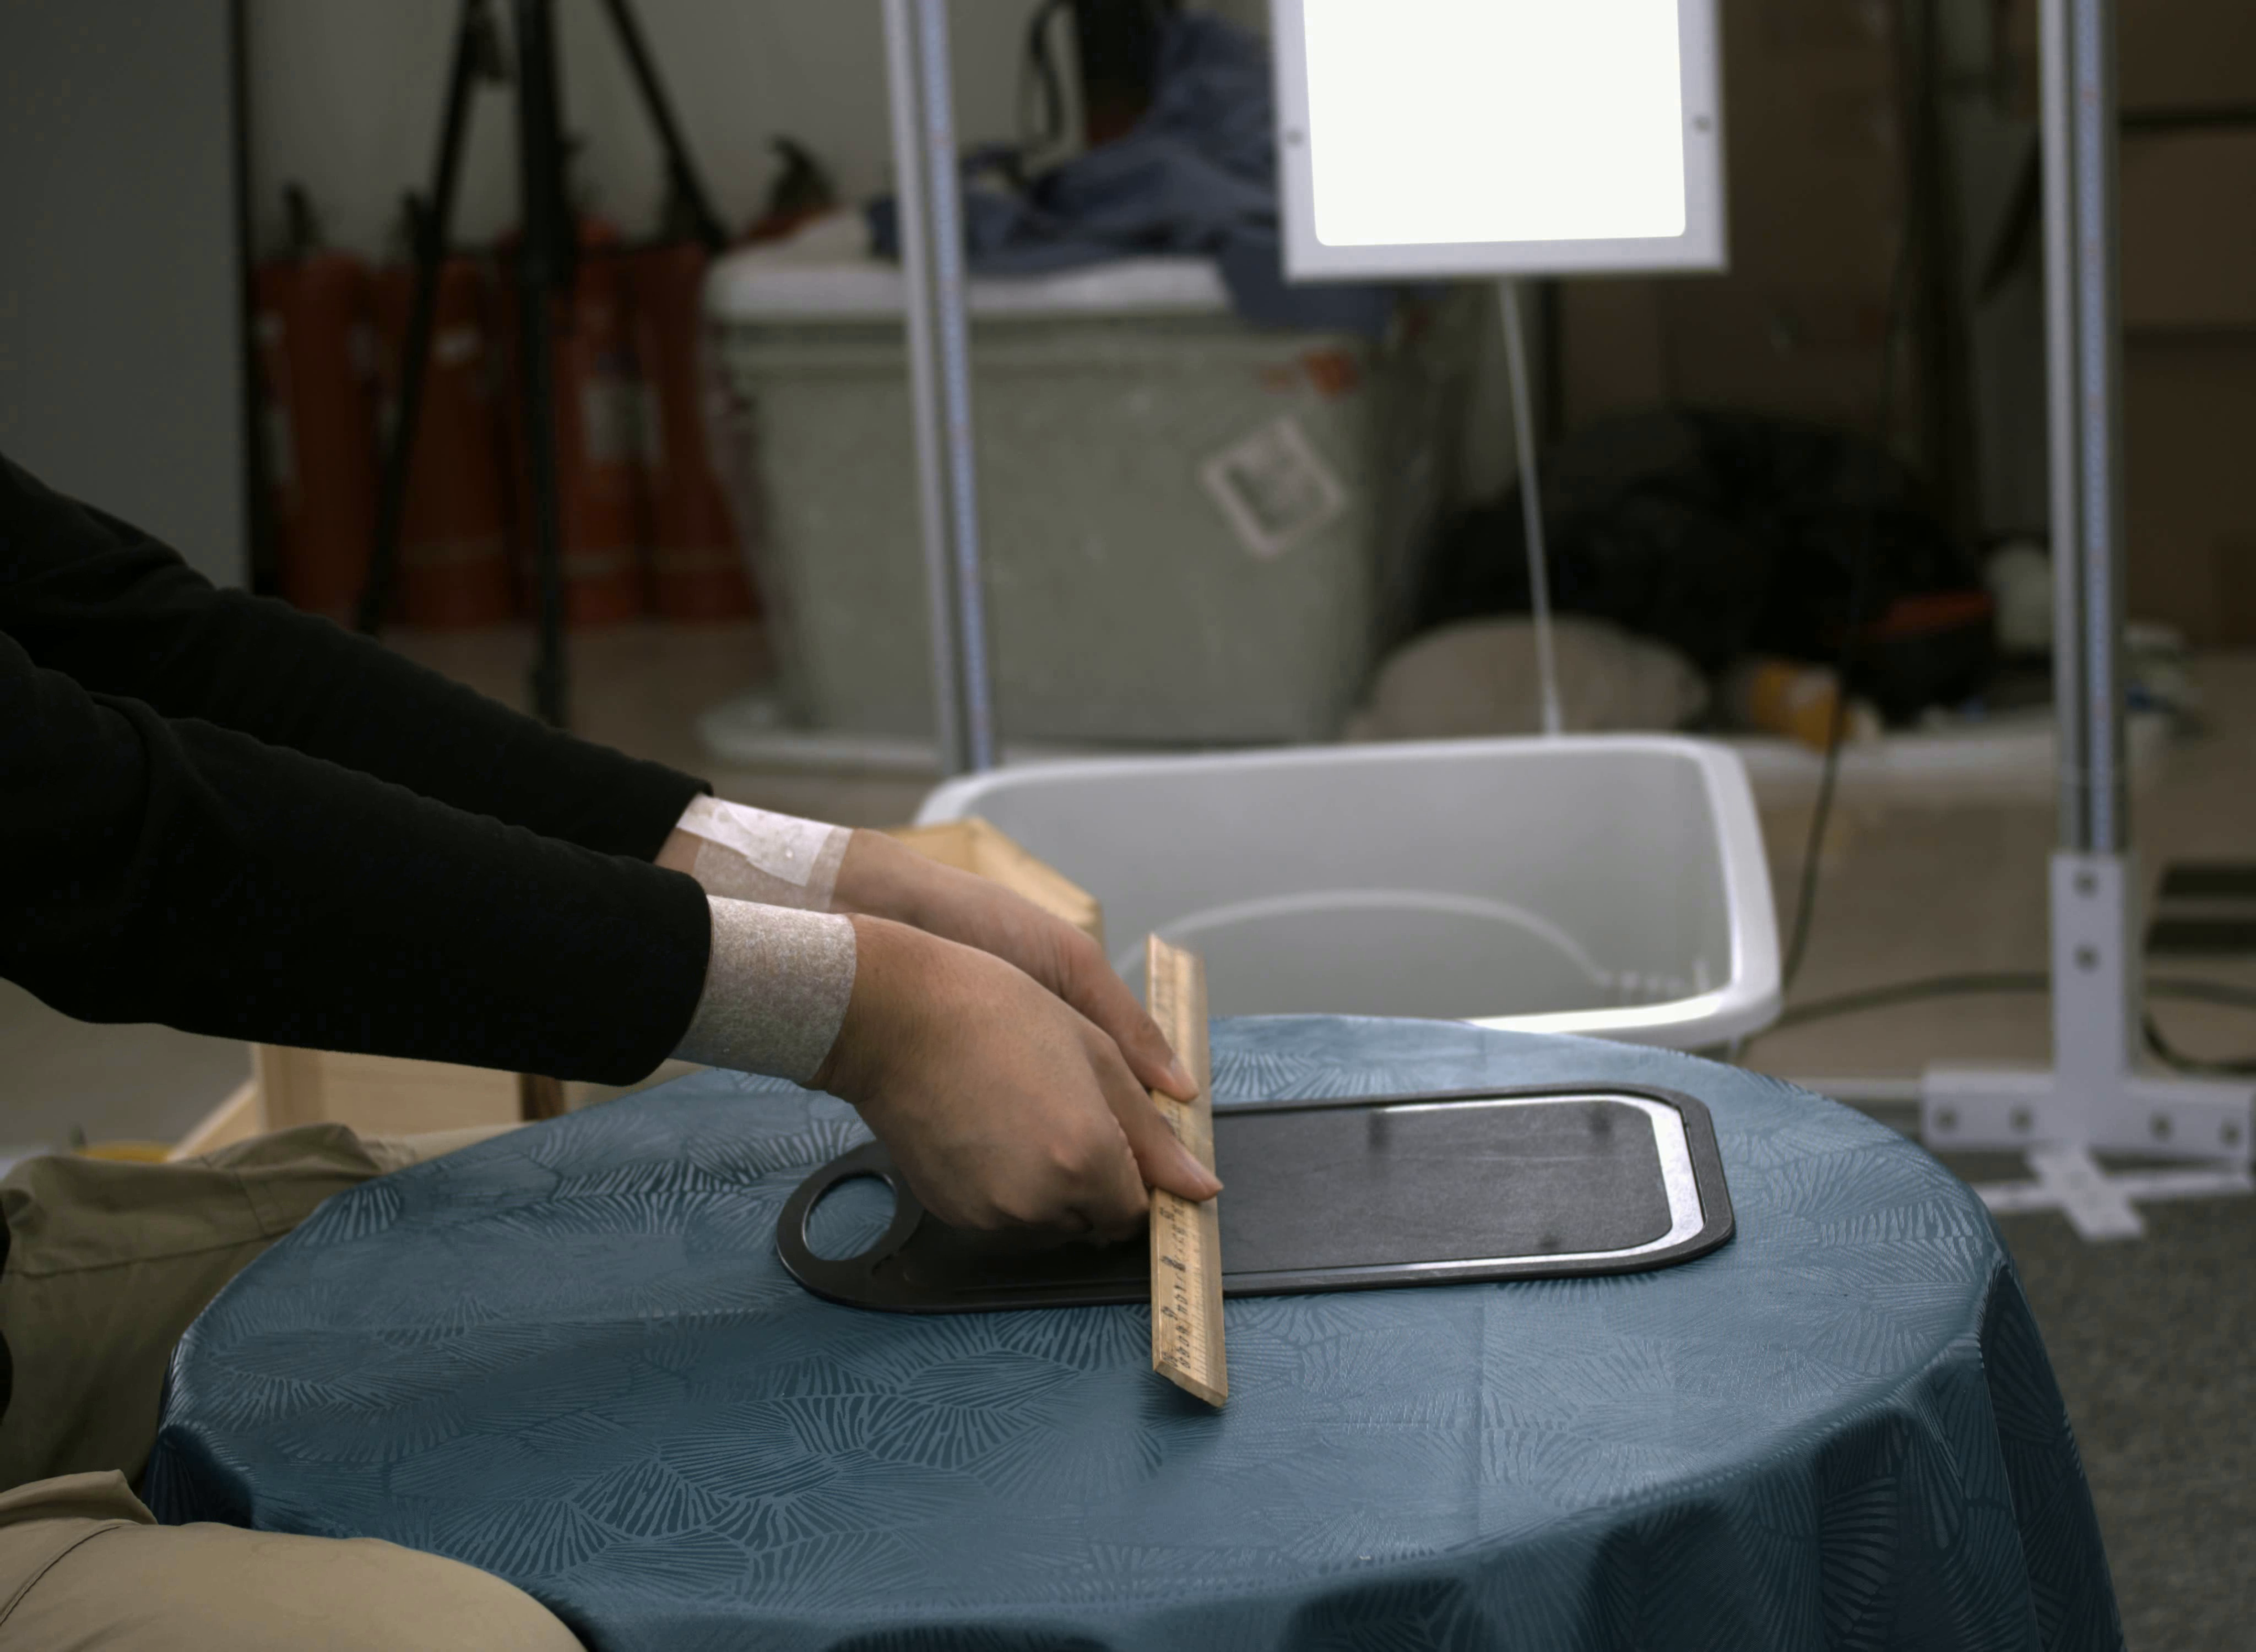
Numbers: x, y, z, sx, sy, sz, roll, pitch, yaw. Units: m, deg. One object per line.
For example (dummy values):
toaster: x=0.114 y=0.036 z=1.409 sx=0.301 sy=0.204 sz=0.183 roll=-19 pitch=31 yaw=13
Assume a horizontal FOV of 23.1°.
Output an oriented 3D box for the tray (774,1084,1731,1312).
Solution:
tray: x=0.041 y=0.124 z=1.878 sx=0.326 sy=0.010 sz=0.210 roll=-4 pitch=14 yaw=6

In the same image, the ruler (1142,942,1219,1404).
ruler: x=0.018 y=0.110 z=1.910 sx=0.026 sy=0.006 sz=0.499 roll=28 pitch=12 yaw=-6
